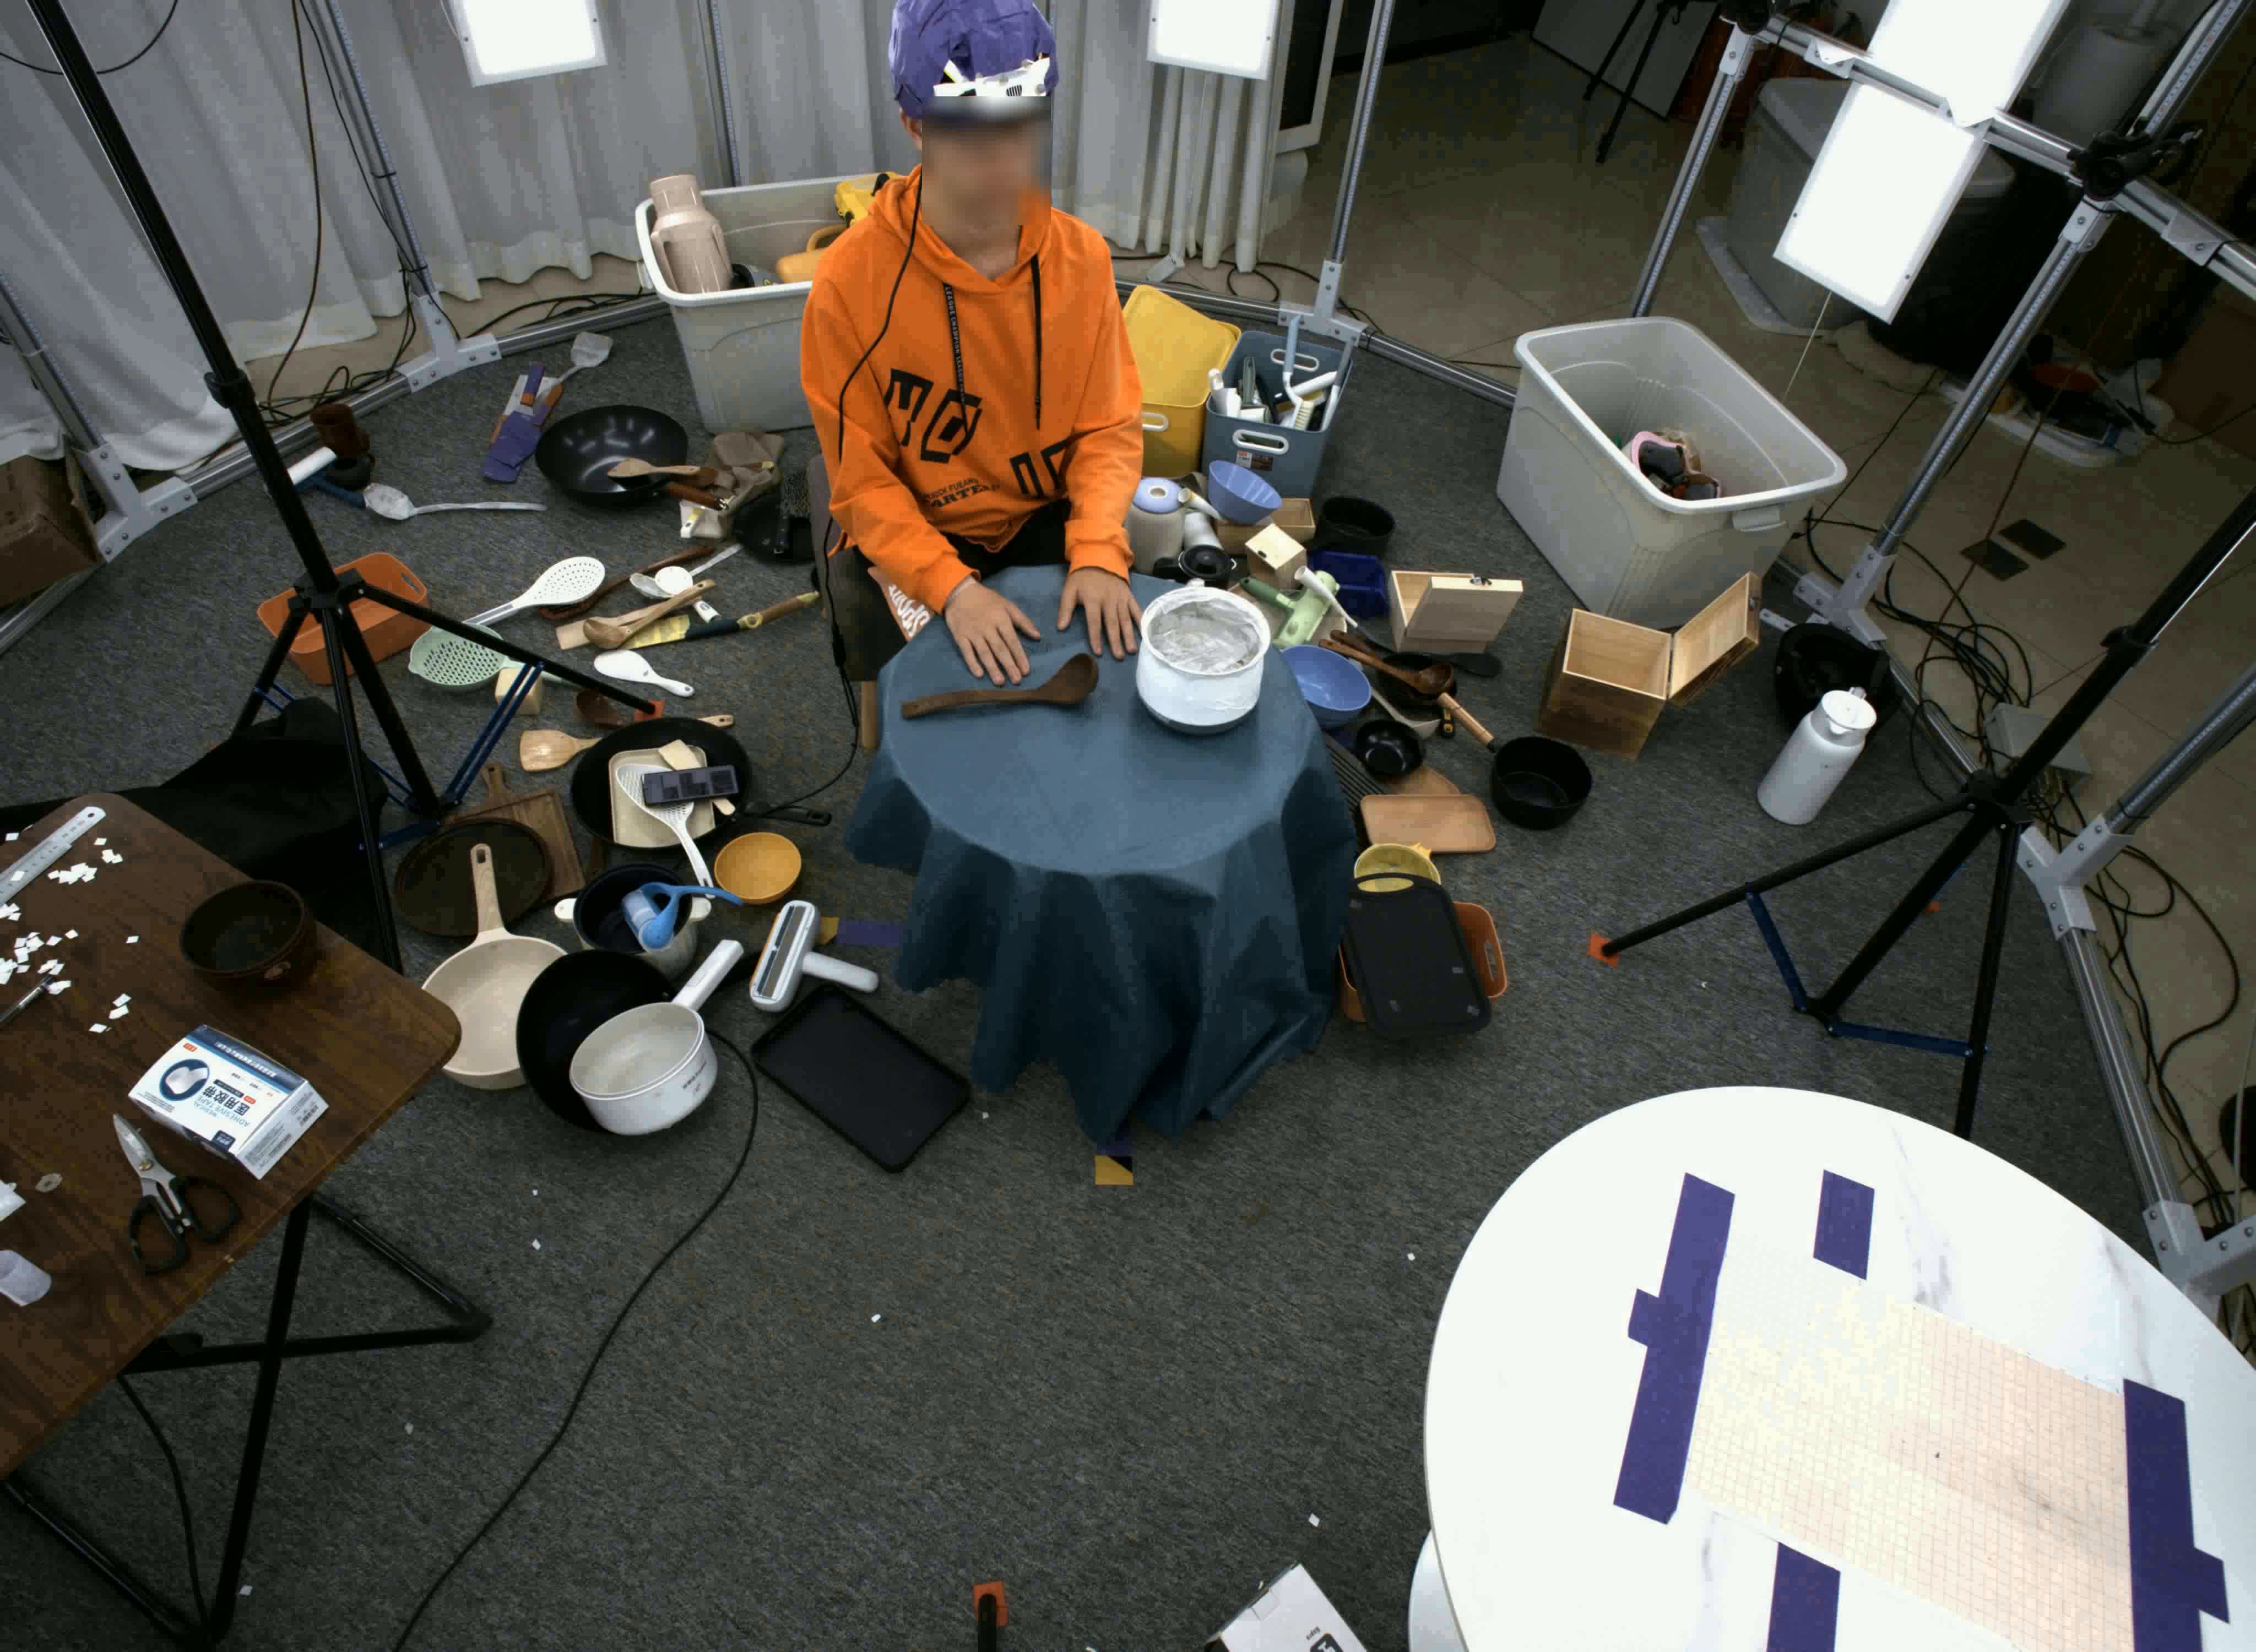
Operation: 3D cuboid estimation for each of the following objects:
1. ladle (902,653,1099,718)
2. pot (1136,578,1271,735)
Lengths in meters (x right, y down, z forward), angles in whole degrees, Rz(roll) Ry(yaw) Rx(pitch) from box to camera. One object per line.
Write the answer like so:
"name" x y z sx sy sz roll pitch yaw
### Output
"ladle" -0.176 -0.193 1.780 0.274 0.069 0.078 -6 47 -10
"pot" 0.098 -0.248 1.801 0.178 0.133 0.239 -2 50 -6
